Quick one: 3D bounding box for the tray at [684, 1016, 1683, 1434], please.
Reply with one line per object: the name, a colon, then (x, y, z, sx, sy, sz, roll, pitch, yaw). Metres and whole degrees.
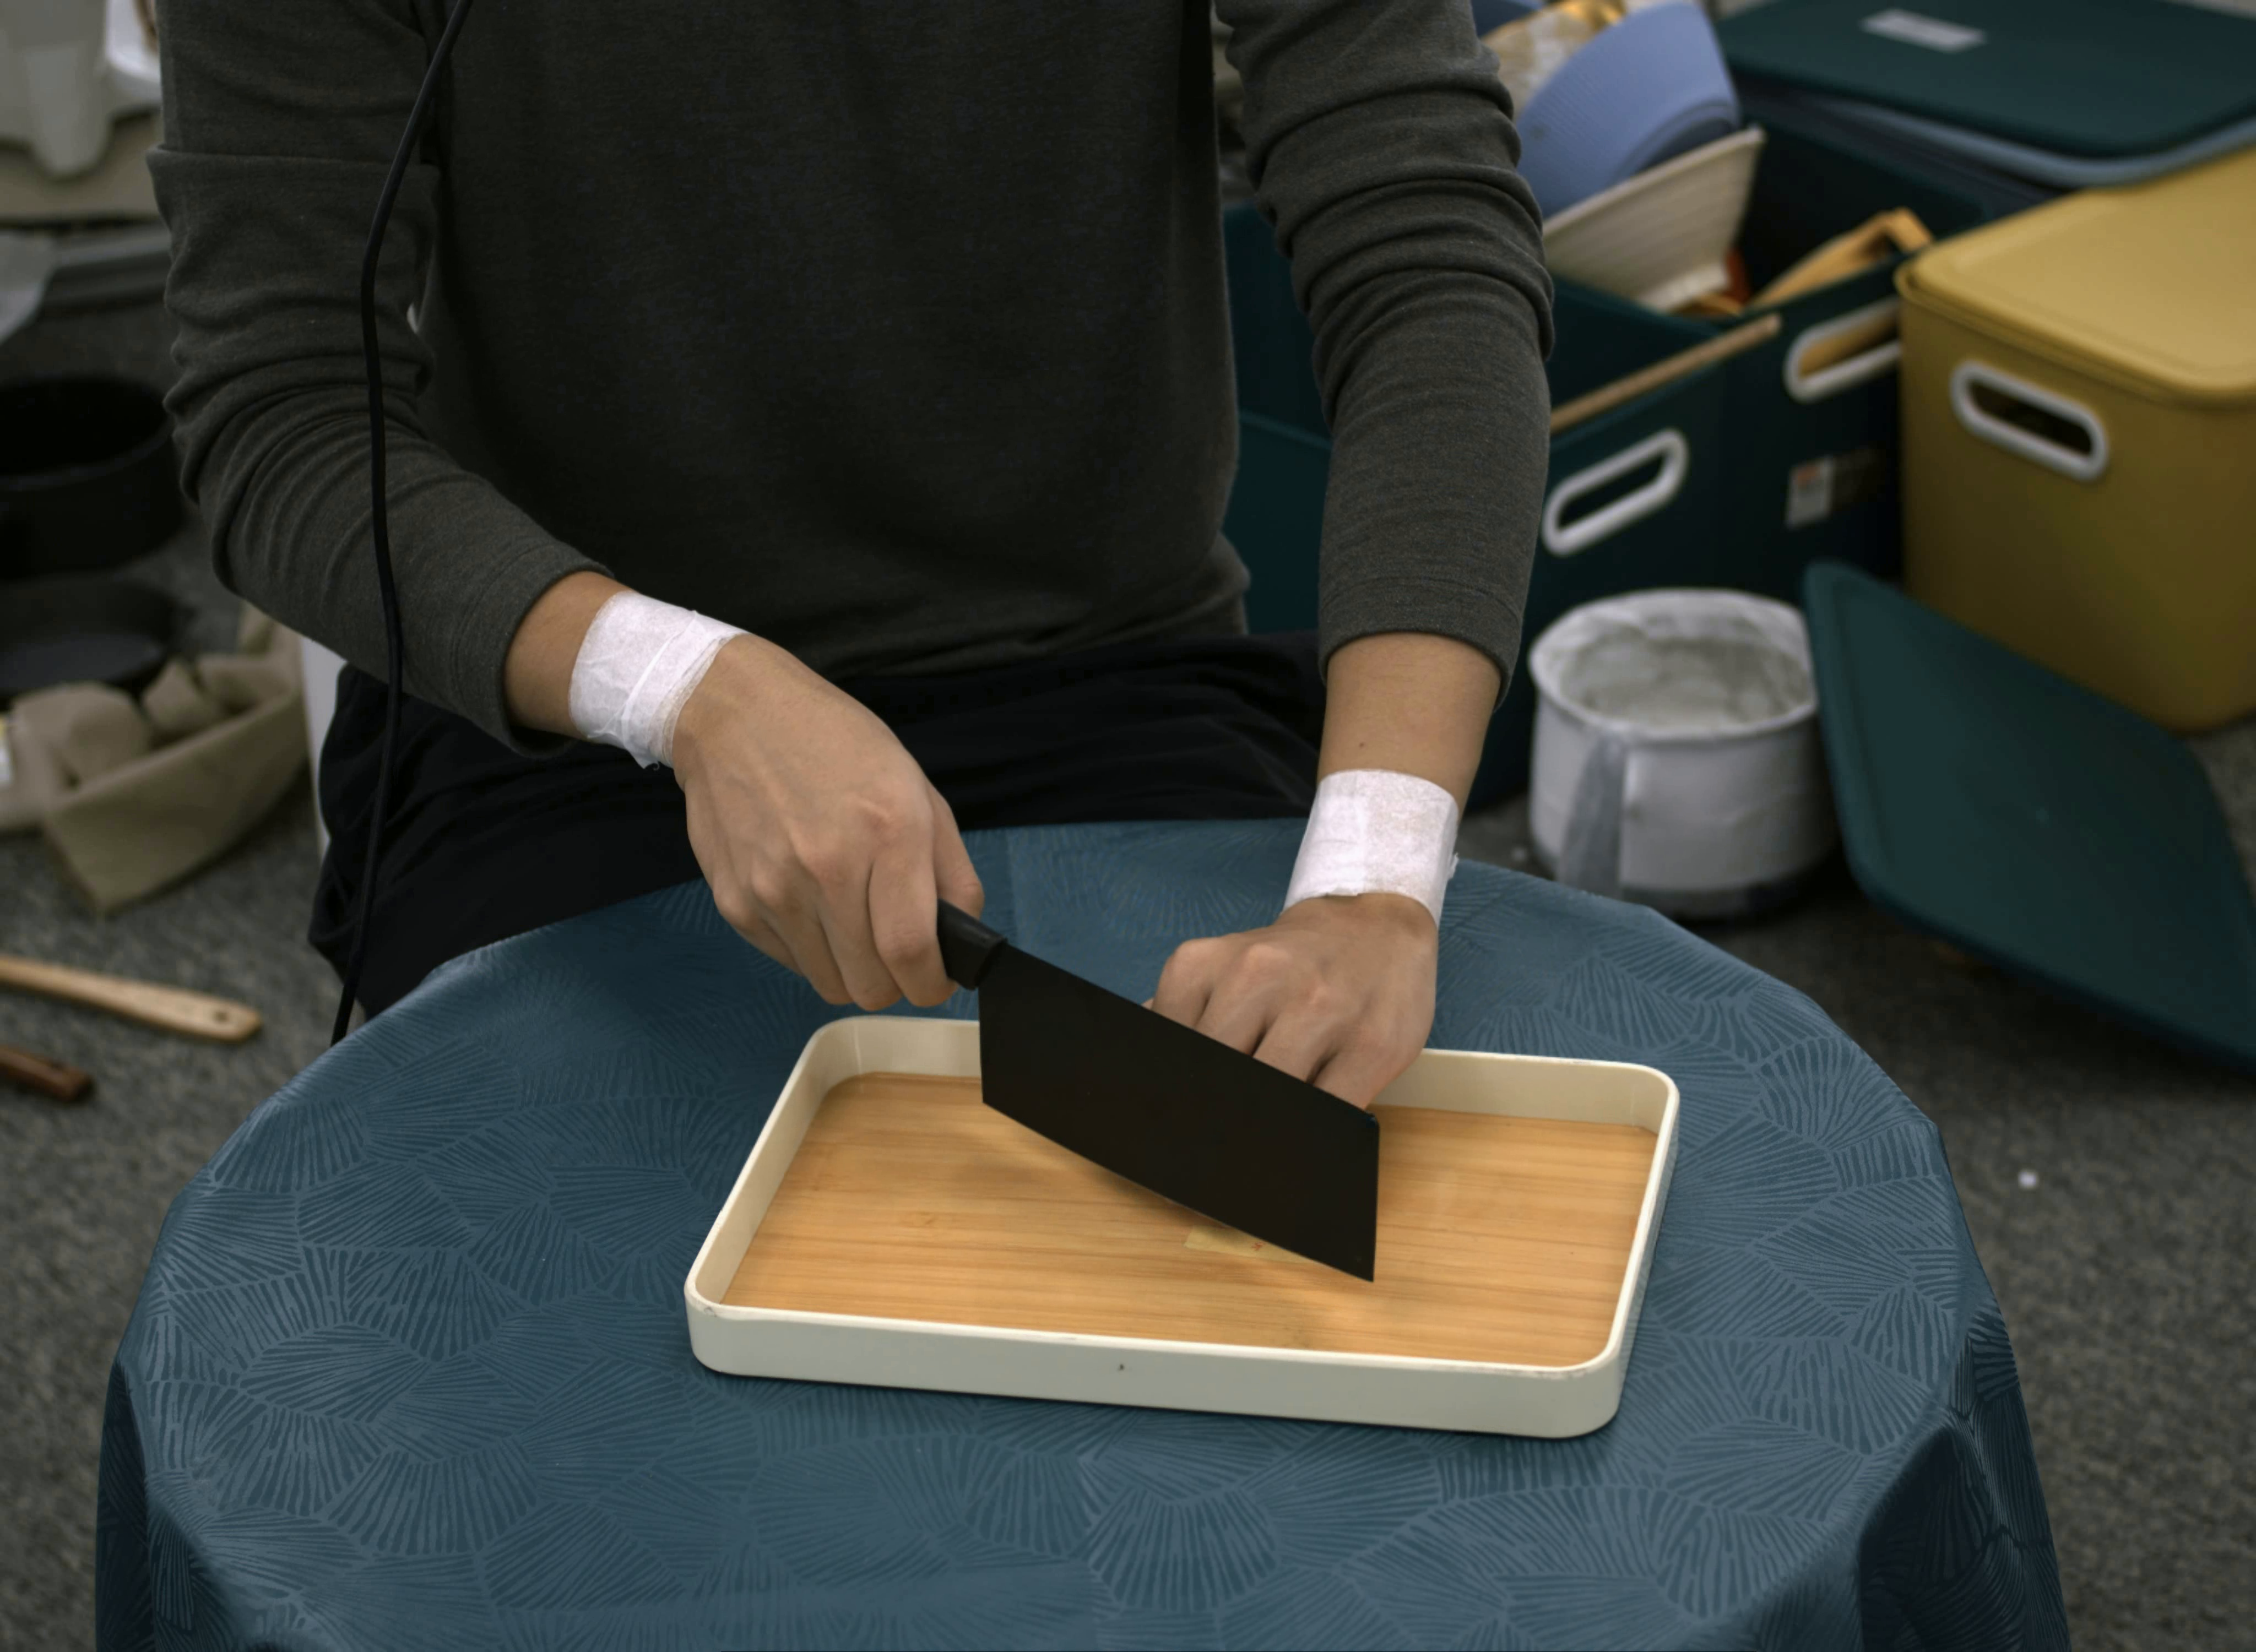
tray: (0.021, 0.127, 1.821, 0.298, 0.027, 0.195, 3, 28, 11)

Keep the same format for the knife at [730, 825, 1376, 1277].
knife: (-0.028, 0.068, 1.846, 0.021, 0.080, 0.302, -21, 36, -40)
